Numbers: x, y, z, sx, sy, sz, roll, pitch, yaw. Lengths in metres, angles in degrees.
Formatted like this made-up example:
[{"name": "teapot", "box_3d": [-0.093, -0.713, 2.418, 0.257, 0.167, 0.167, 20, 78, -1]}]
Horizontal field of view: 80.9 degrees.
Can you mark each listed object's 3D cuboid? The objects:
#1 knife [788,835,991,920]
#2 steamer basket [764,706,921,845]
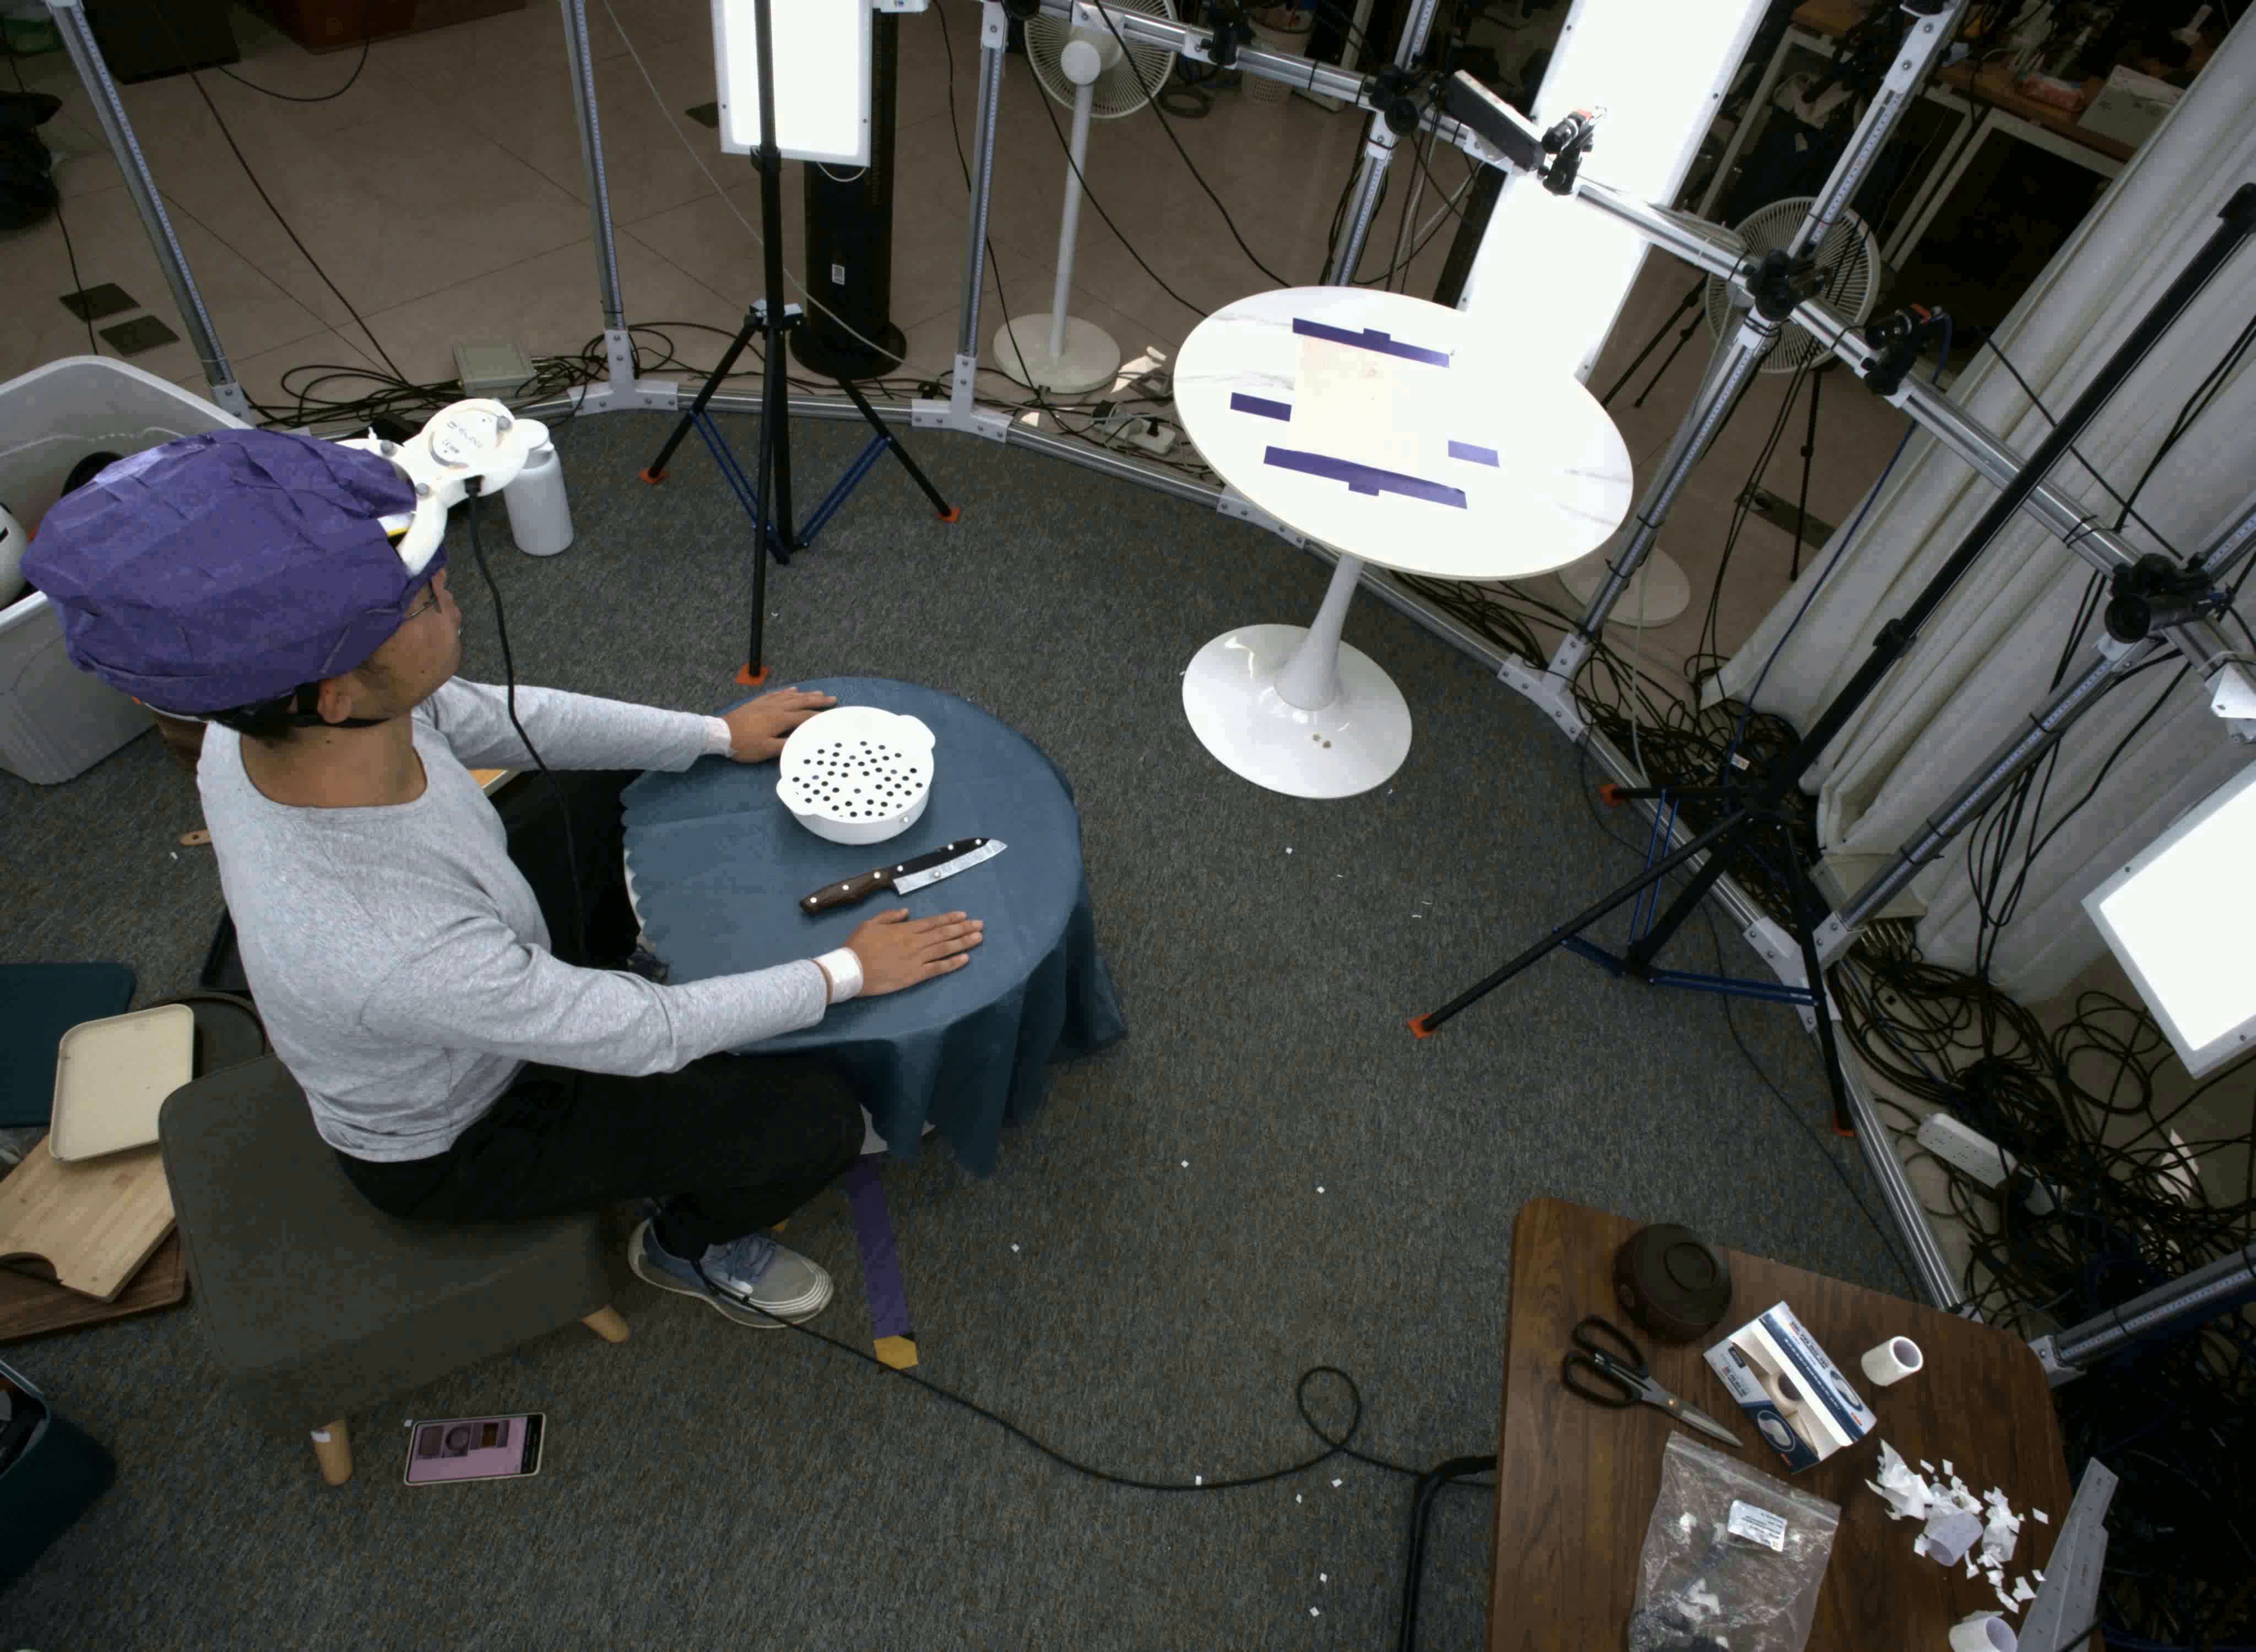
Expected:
[{"name": "knife", "box_3d": [-0.307, 0.064, 1.709, 0.291, 0.020, 0.049, -20, 66, -29]}, {"name": "steamer basket", "box_3d": [-0.382, -0.067, 1.753, 0.231, 0.071, 0.197, -35, 68, -31]}]
